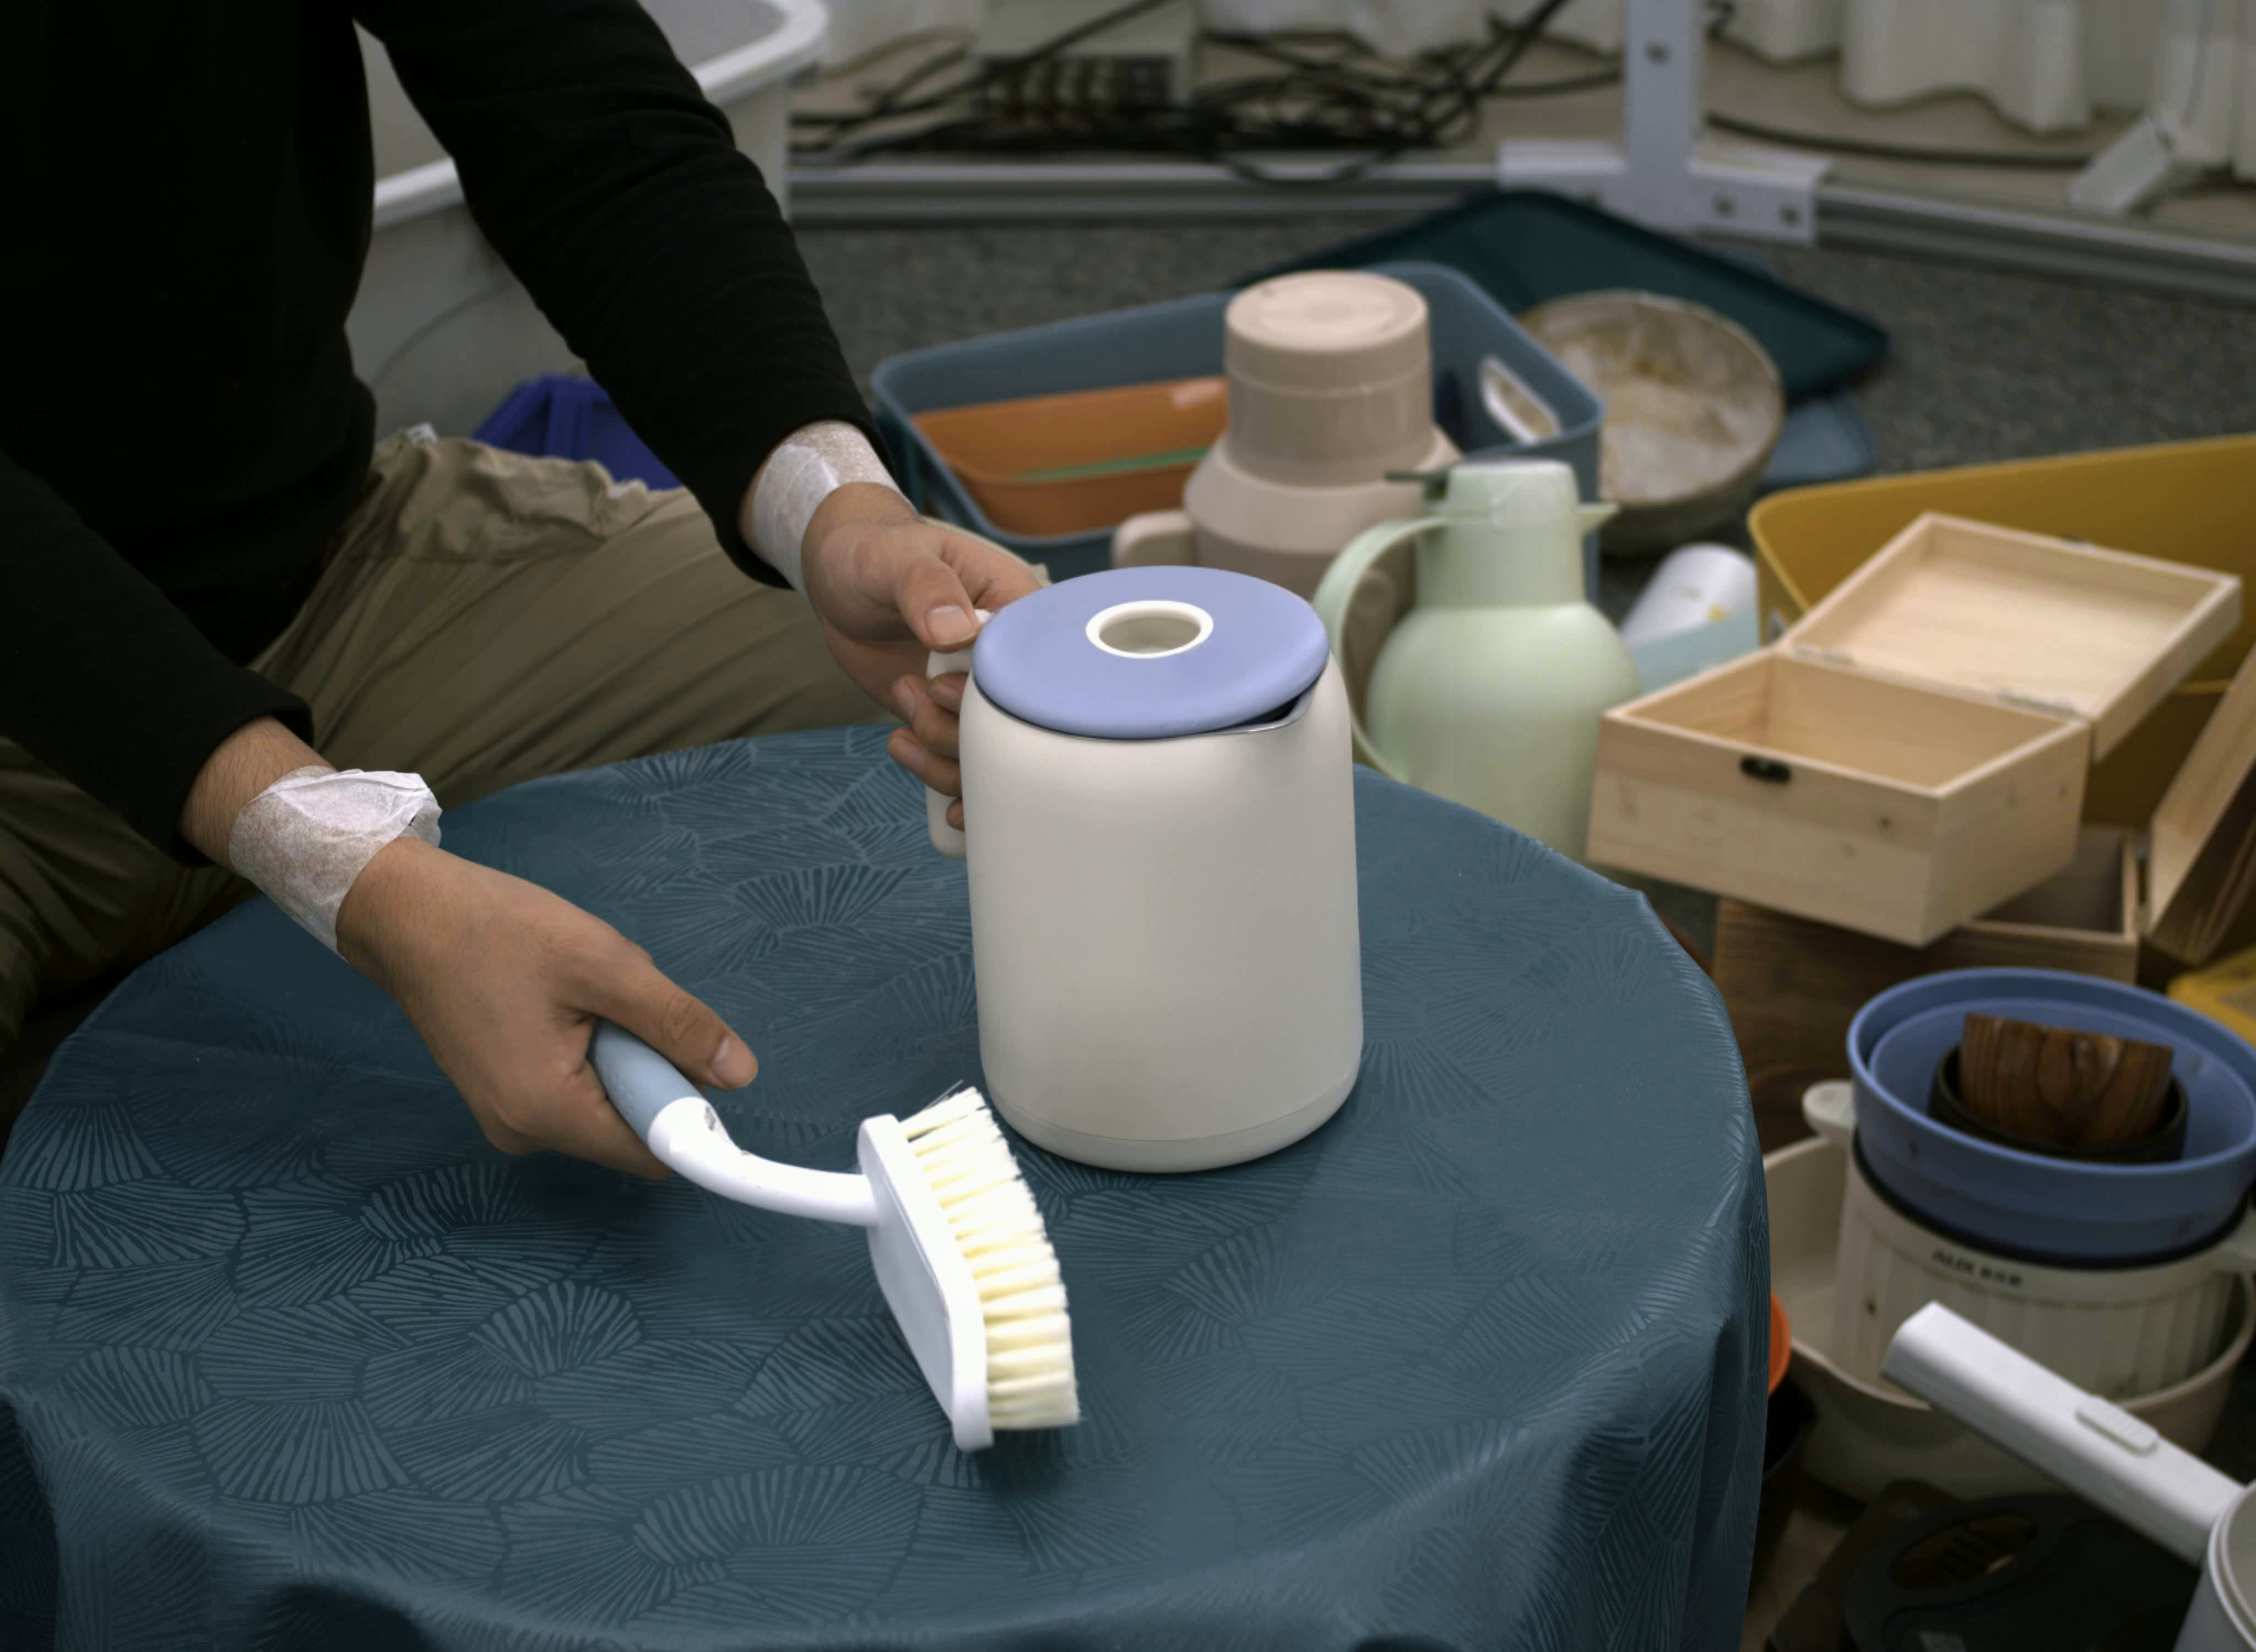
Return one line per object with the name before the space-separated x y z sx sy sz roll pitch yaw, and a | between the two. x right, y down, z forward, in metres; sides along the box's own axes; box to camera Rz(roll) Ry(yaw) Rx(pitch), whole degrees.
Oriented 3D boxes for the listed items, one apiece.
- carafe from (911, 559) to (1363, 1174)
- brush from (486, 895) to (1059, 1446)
carafe | -0.005 0.006 1.901 0.134 0.181 0.191 -25 33 -37
brush | -0.101 0.093 1.815 0.084 0.083 0.327 20 15 -41
